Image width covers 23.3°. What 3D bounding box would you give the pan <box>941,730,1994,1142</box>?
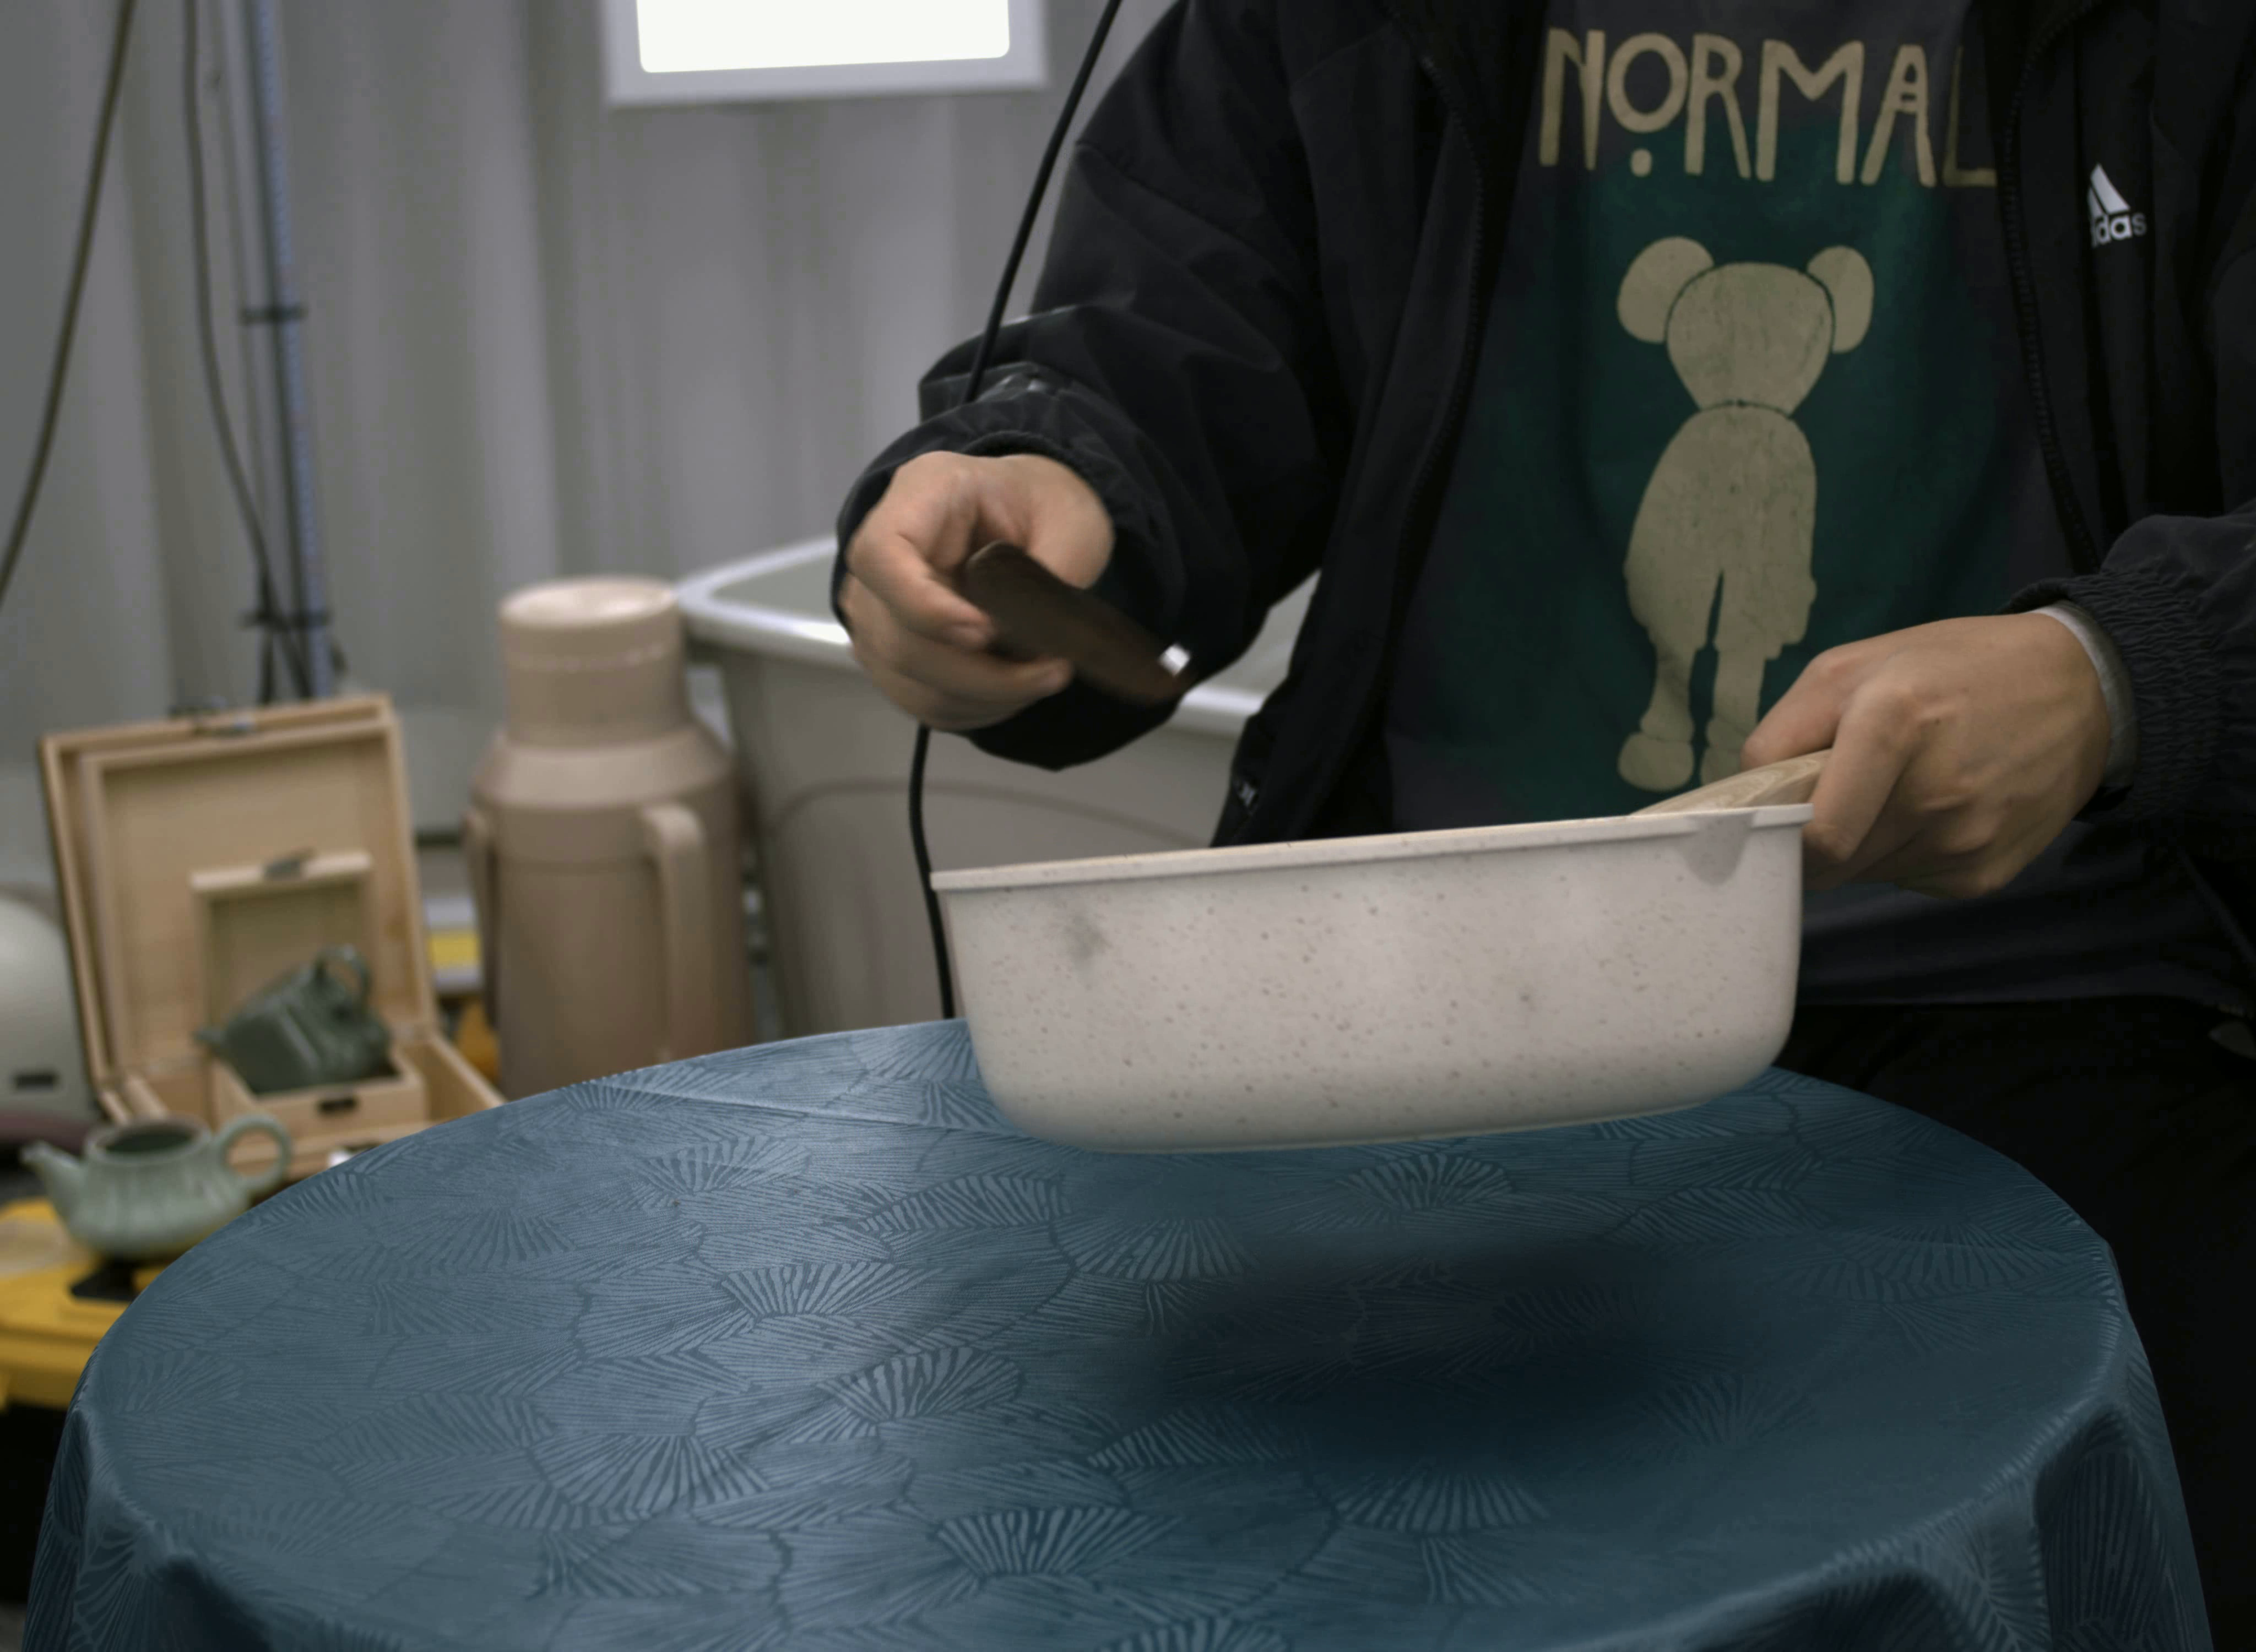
[{"bbox_3d":[0.135,0.029,1.616,0.263,0.102,0.432,-6,-1,42],"label":"pan"}]

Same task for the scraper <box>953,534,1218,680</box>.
[{"bbox_3d":[-0.026,-0.063,1.703,0.075,0.011,0.211,30,-7,-9],"label":"scraper"}]
